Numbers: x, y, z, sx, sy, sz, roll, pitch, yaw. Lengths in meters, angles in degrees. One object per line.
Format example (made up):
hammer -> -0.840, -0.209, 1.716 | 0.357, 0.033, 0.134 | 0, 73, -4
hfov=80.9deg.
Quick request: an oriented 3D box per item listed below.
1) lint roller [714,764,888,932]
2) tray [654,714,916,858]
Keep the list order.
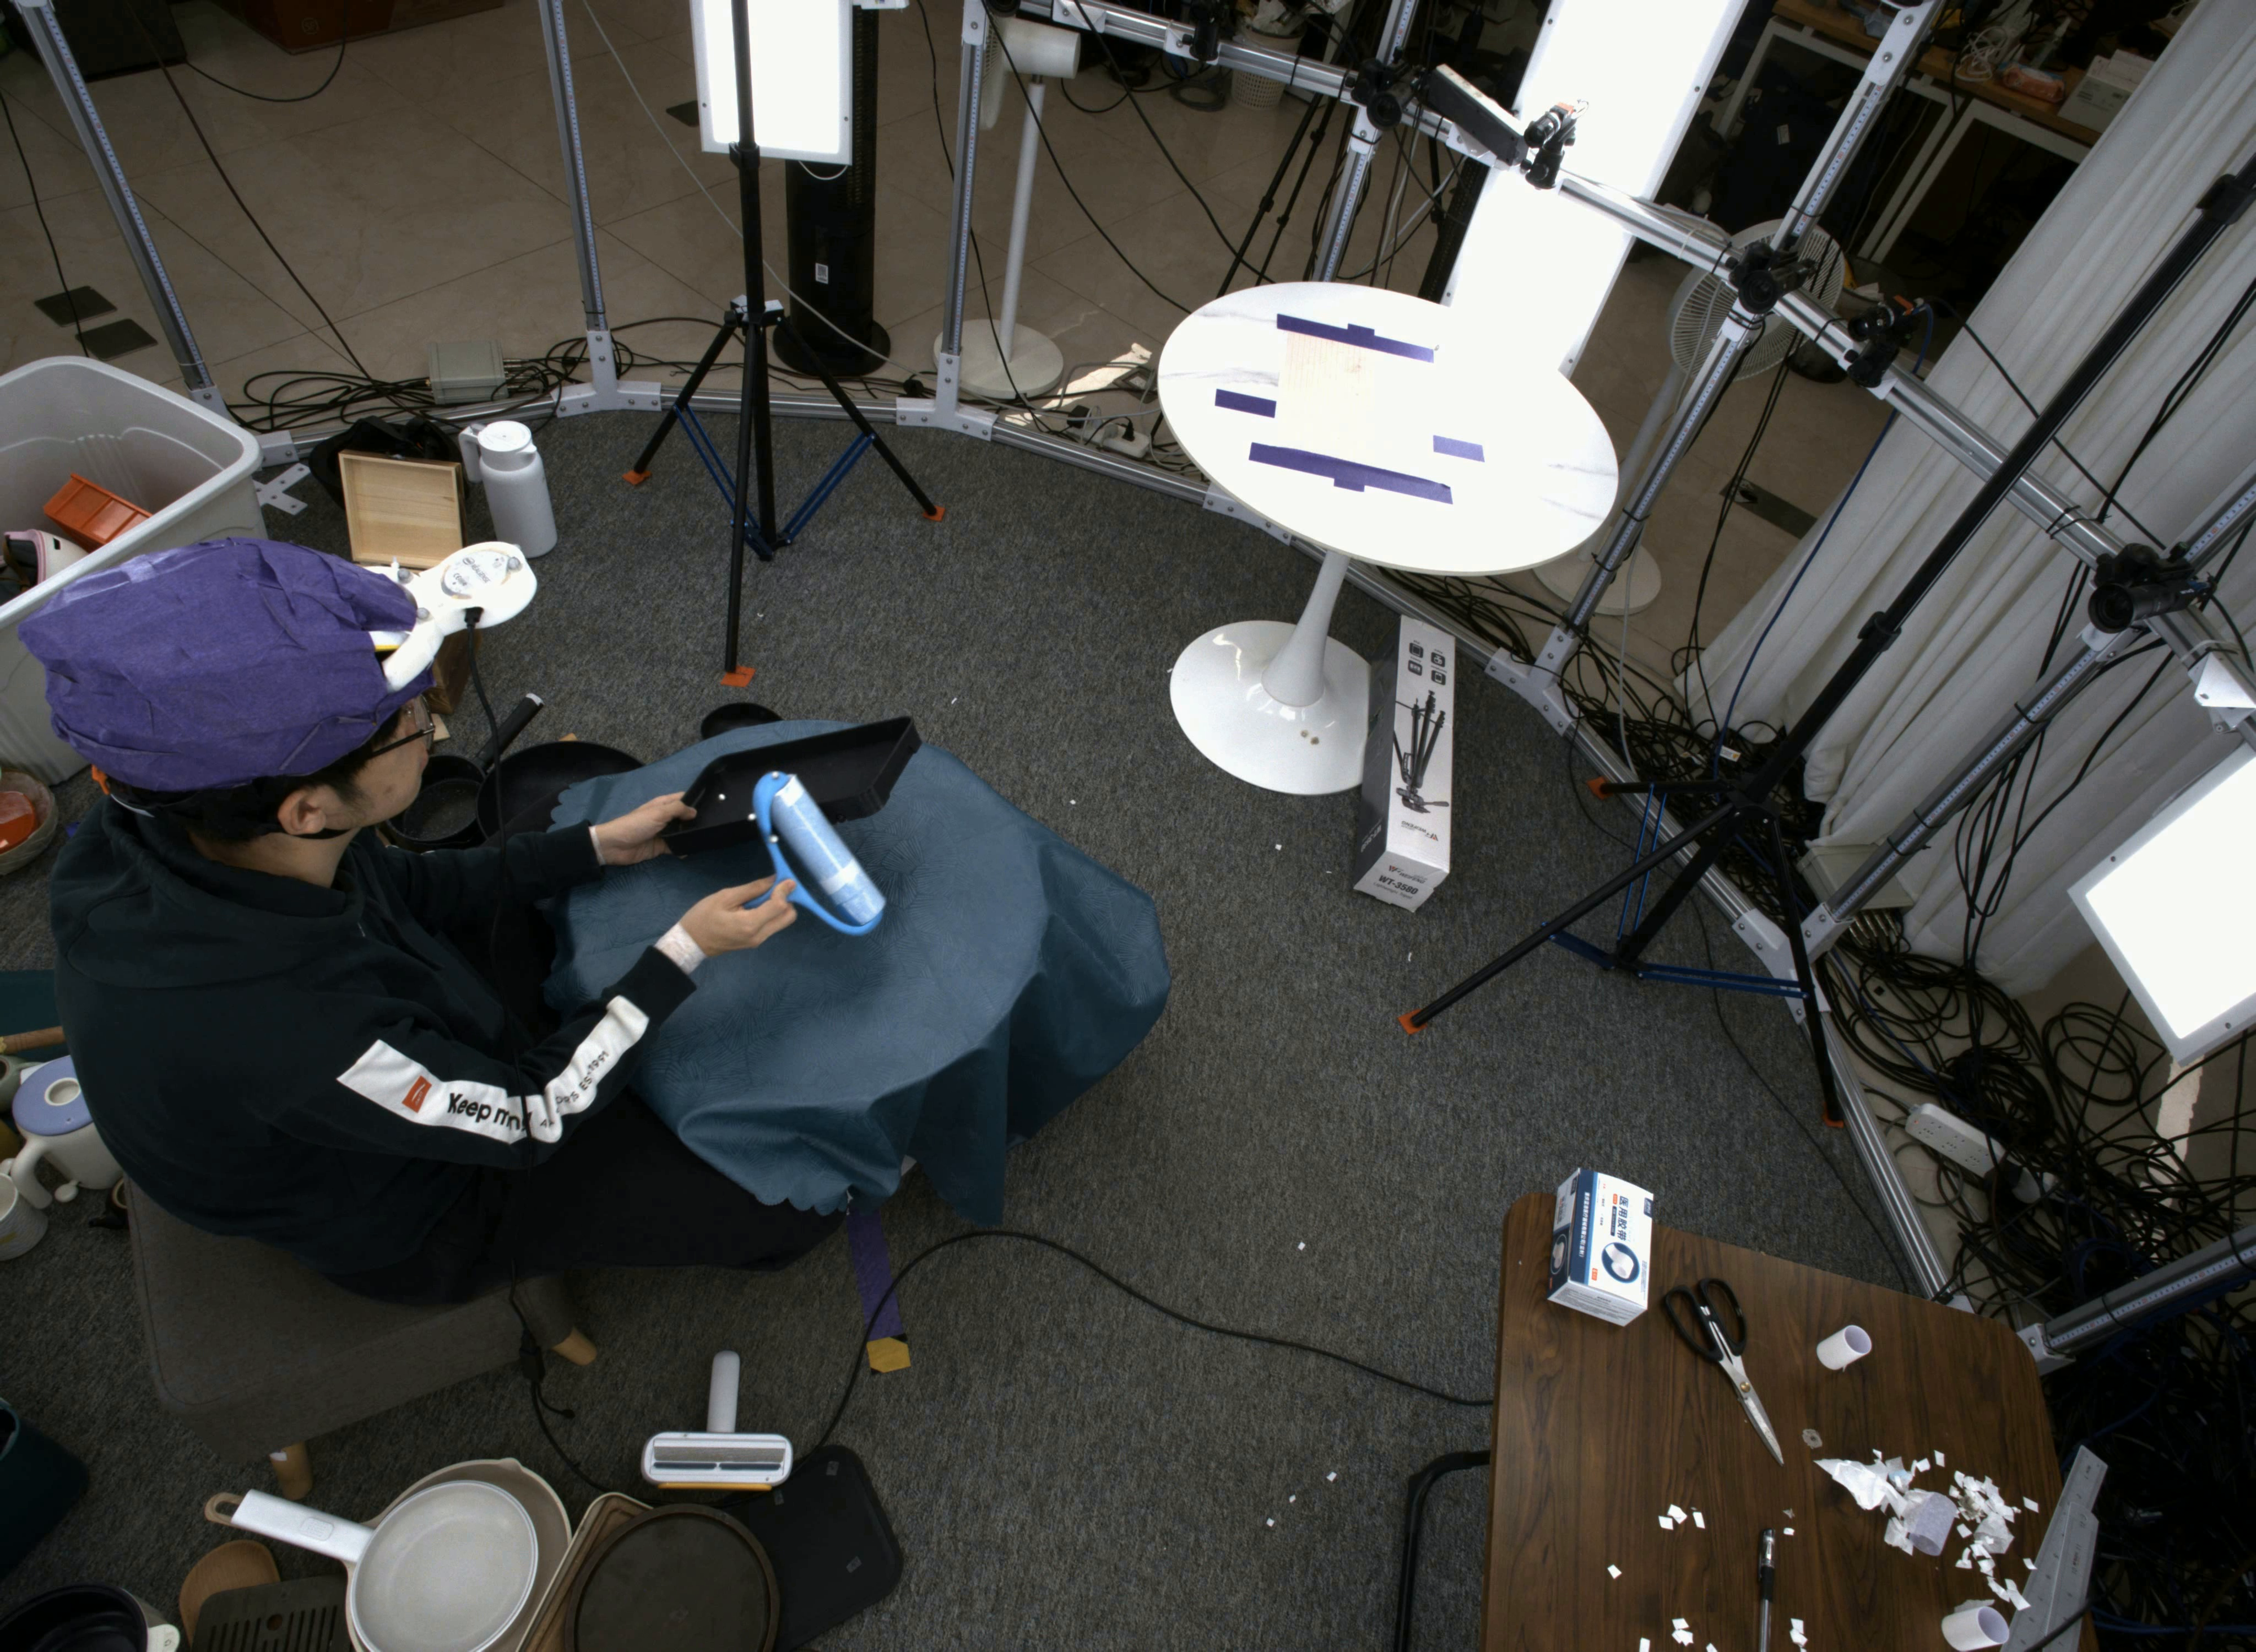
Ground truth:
lint roller -> -0.400, 0.062, 1.509 | 0.180, 0.237, 0.065 | -43, 30, -16
tray -> -0.430, -0.052, 1.629 | 0.311, 0.038, 0.181 | -10, 34, 17
